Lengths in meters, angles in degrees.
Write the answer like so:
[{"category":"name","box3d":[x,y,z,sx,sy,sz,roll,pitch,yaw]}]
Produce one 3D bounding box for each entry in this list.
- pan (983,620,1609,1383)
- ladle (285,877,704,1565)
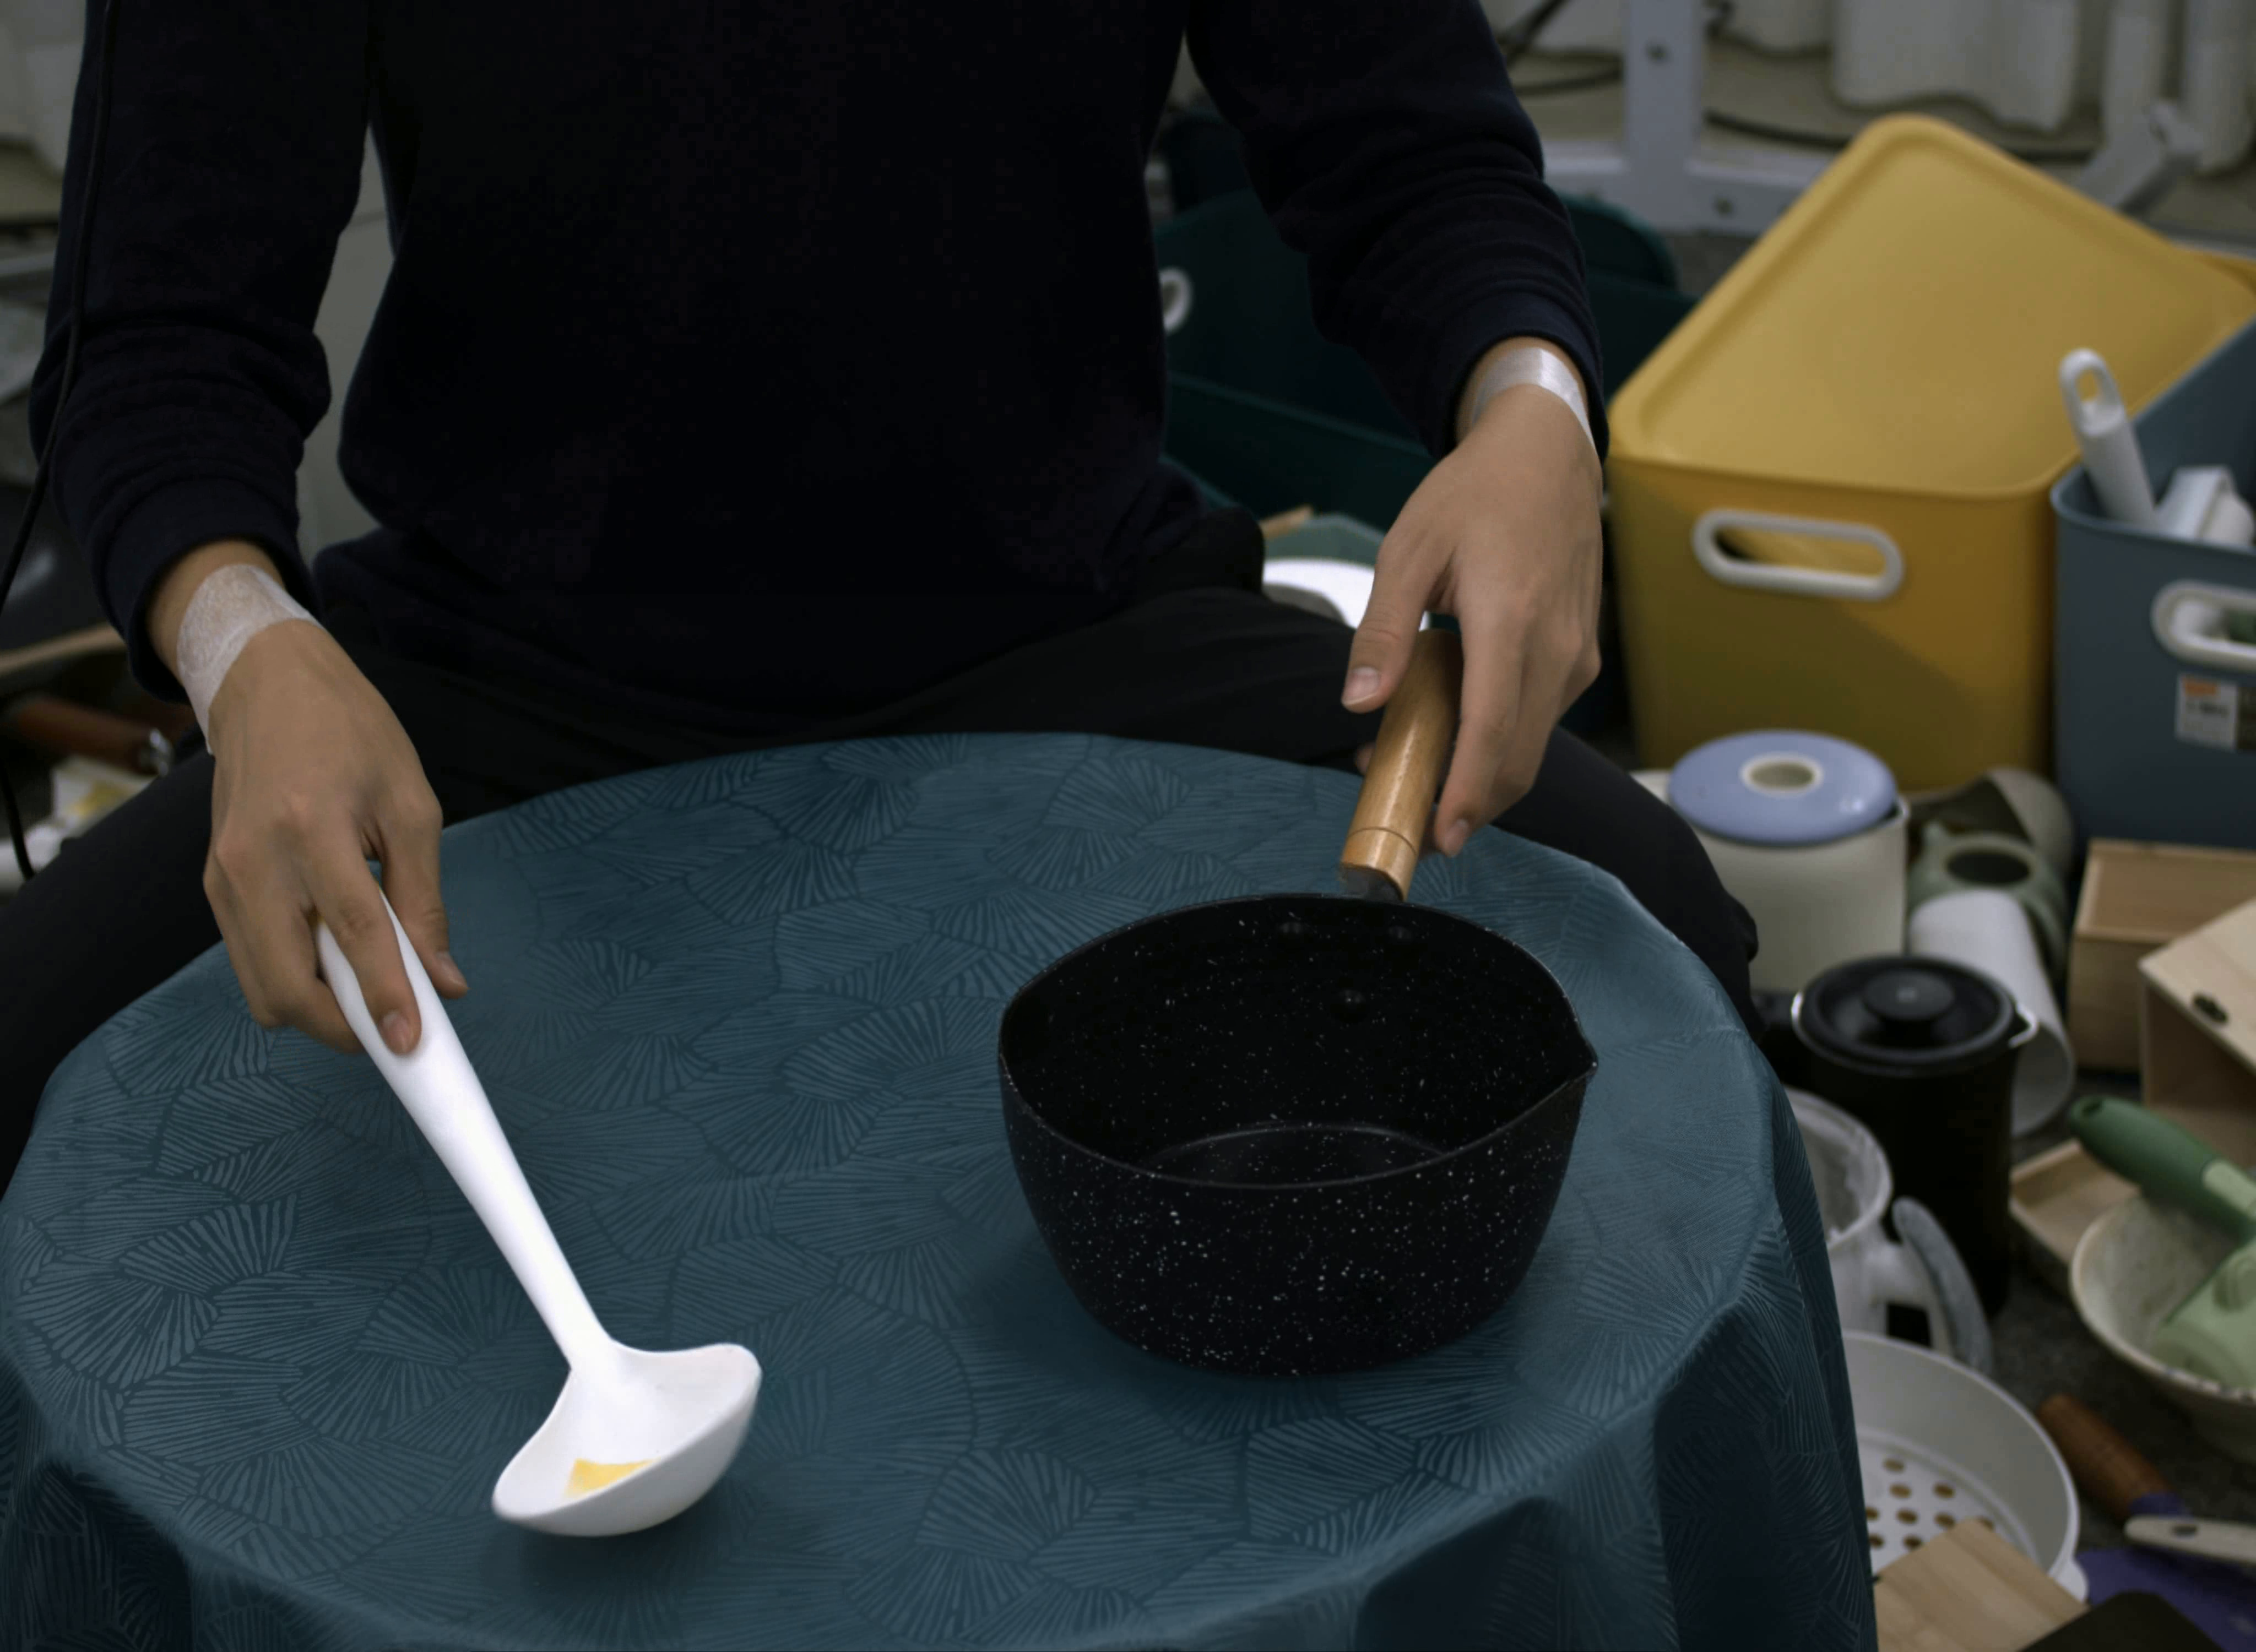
[{"category":"pan","box3d":[0.070,0.054,1.868,0.206,0.107,0.349,3,29,13]},{"category":"ladle","box3d":[-0.210,0.117,1.762,0.090,0.069,0.296,-37,52,5]}]
